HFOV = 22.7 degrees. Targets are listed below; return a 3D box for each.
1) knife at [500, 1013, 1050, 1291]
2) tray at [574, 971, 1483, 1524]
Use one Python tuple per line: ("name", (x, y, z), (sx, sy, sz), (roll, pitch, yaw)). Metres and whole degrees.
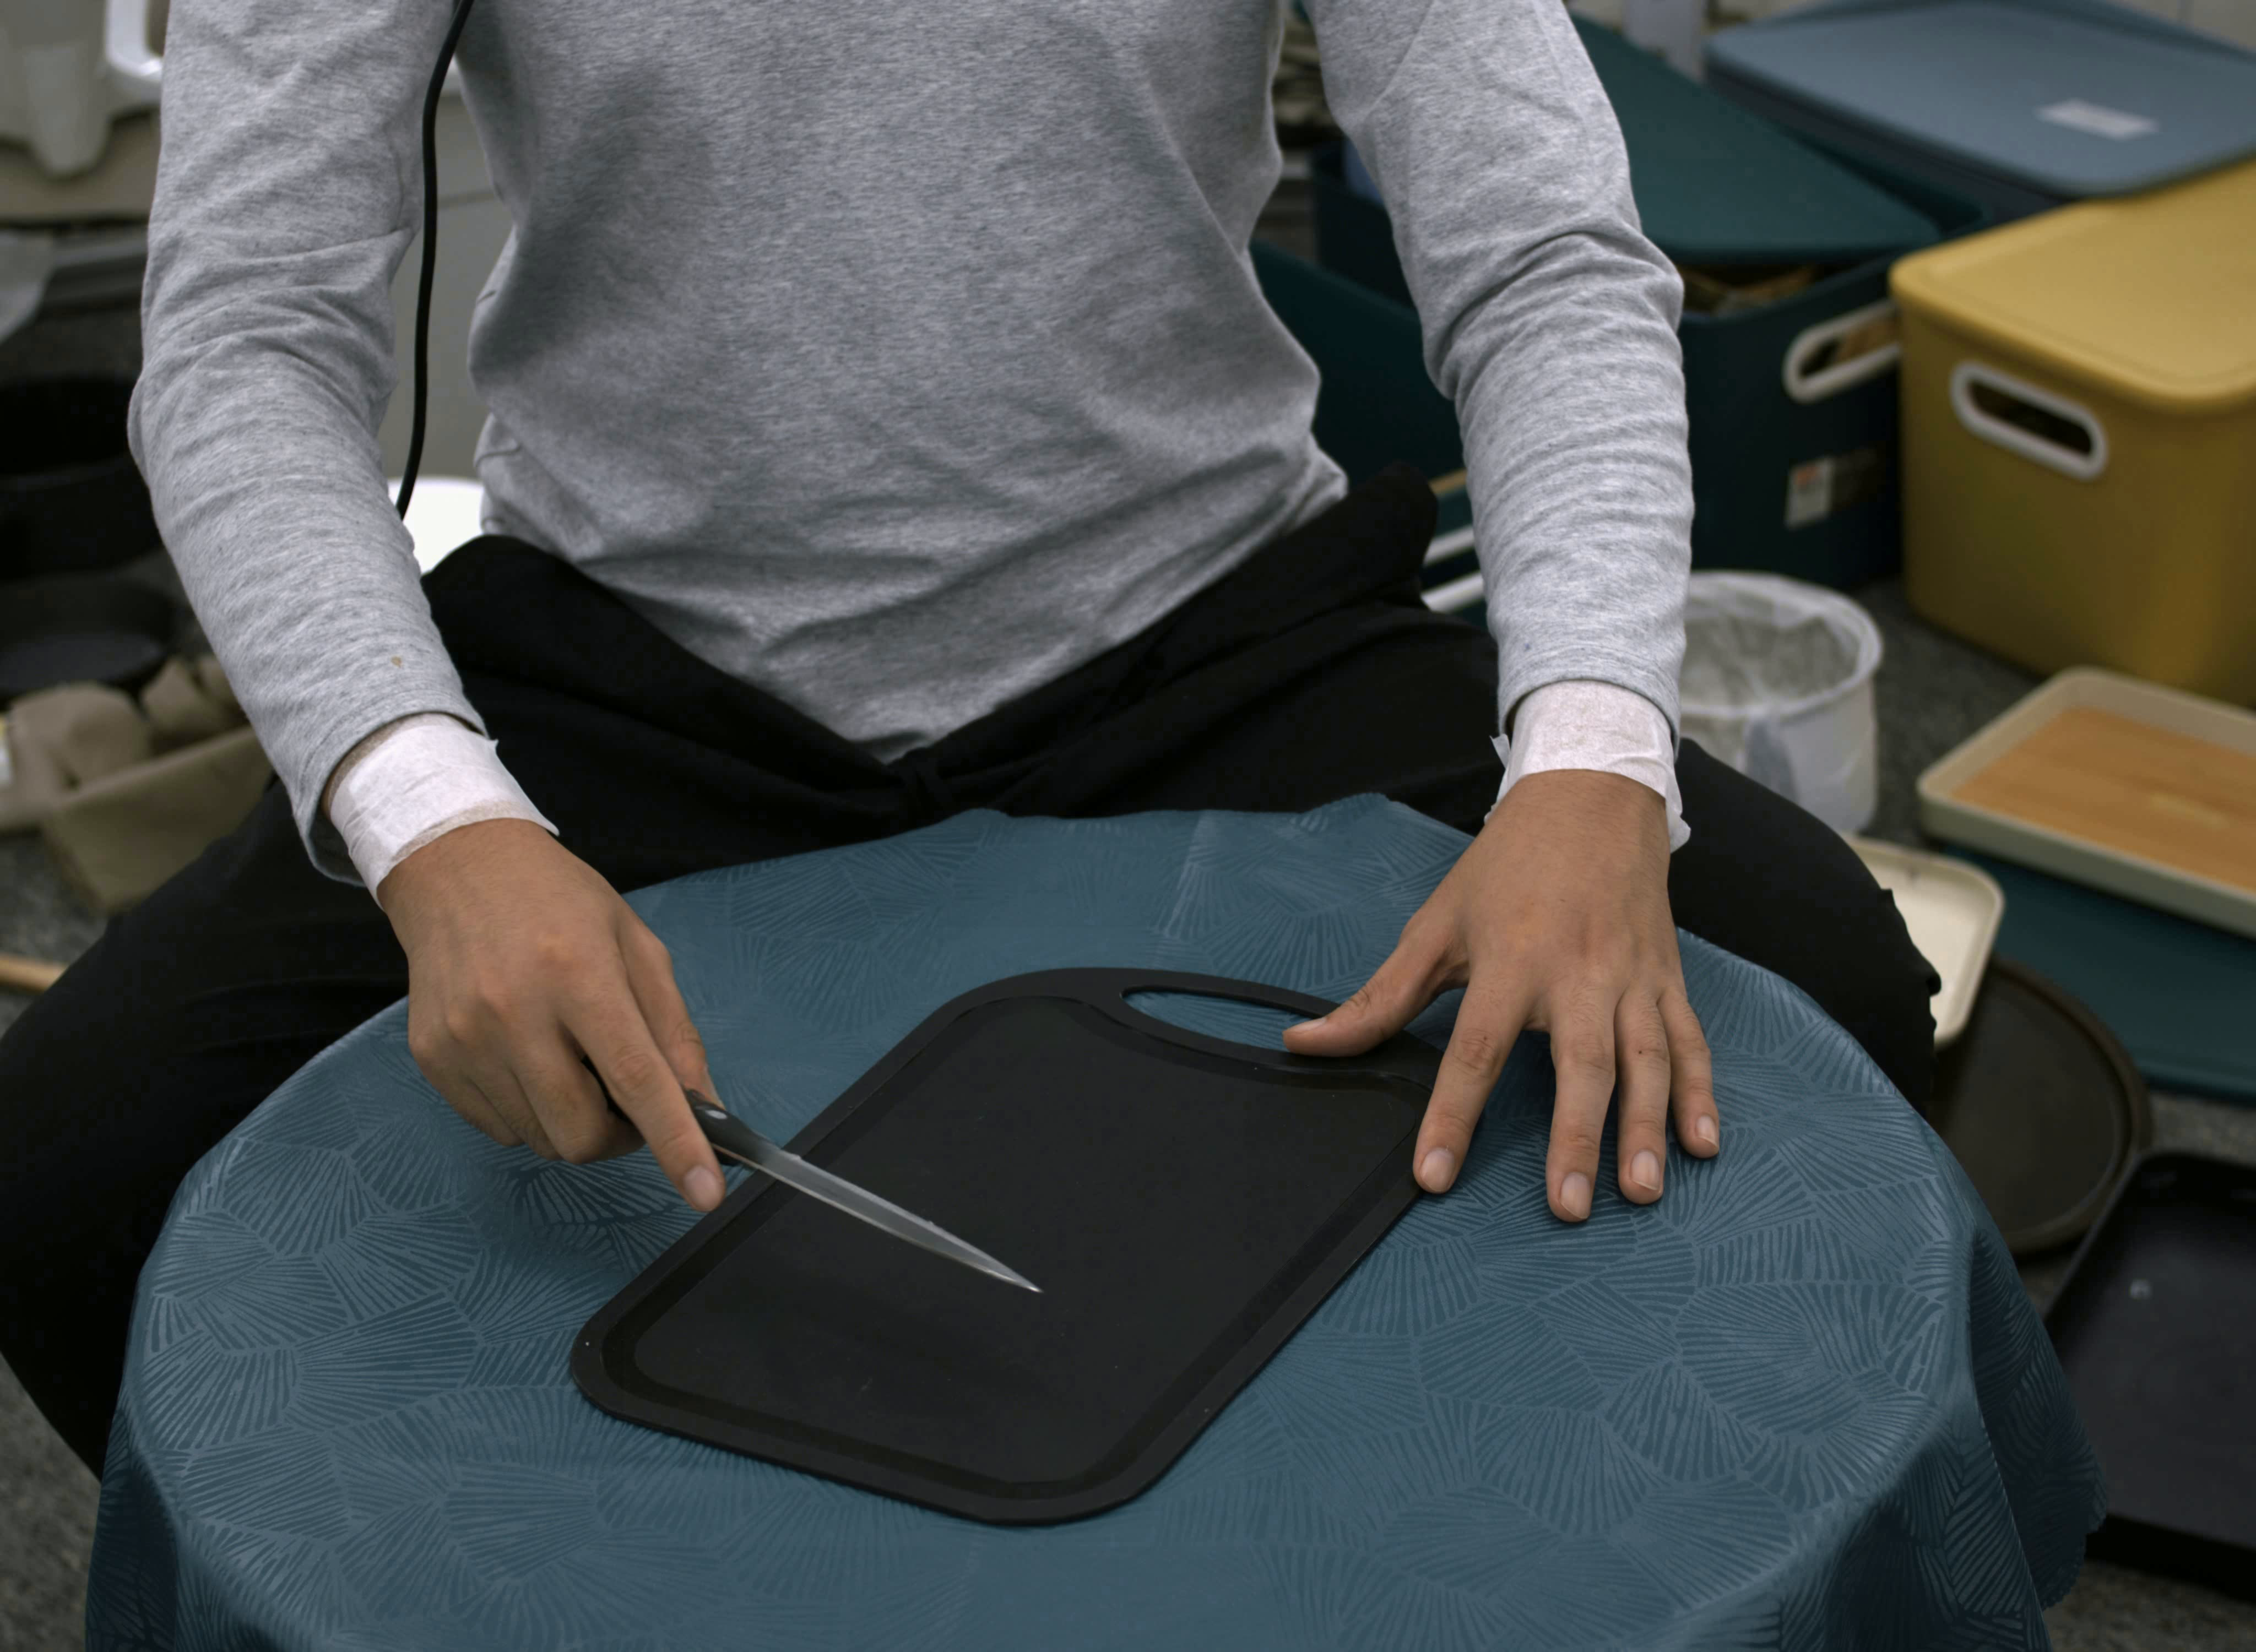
("knife", (-0.118, 0.106, 1.803), (0.237, 0.016, 0.024), (23, 21, 34))
("tray", (-0.025, 0.127, 1.848), (0.210, 0.009, 0.331), (12, 31, 27))
